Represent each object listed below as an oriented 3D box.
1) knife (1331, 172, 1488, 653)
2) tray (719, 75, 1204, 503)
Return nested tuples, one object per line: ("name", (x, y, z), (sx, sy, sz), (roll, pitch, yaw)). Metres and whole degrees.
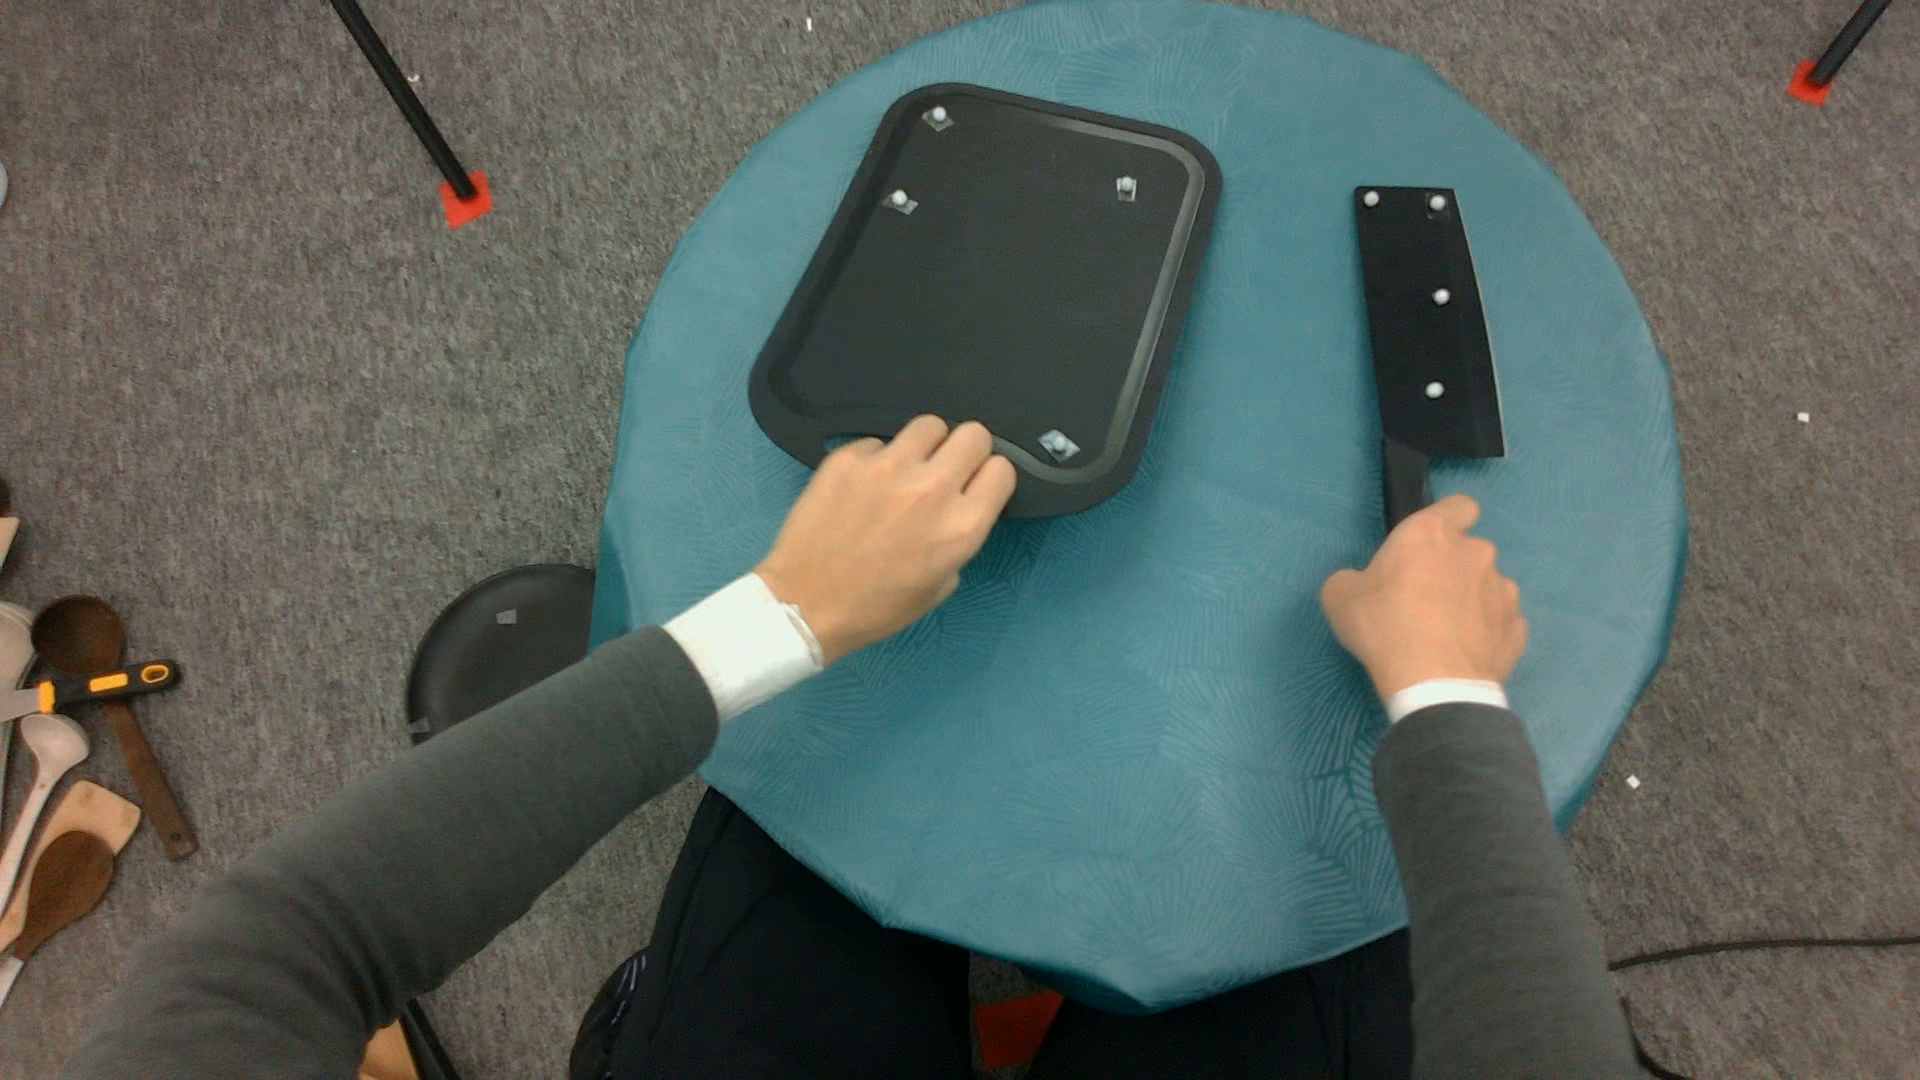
("knife", (0.253, -0.083, 0.763), (0.081, 0.021, 0.303), (3, 66, 1))
("tray", (0.008, -0.149, 0.755), (0.211, 0.010, 0.327), (16, 54, 8))
